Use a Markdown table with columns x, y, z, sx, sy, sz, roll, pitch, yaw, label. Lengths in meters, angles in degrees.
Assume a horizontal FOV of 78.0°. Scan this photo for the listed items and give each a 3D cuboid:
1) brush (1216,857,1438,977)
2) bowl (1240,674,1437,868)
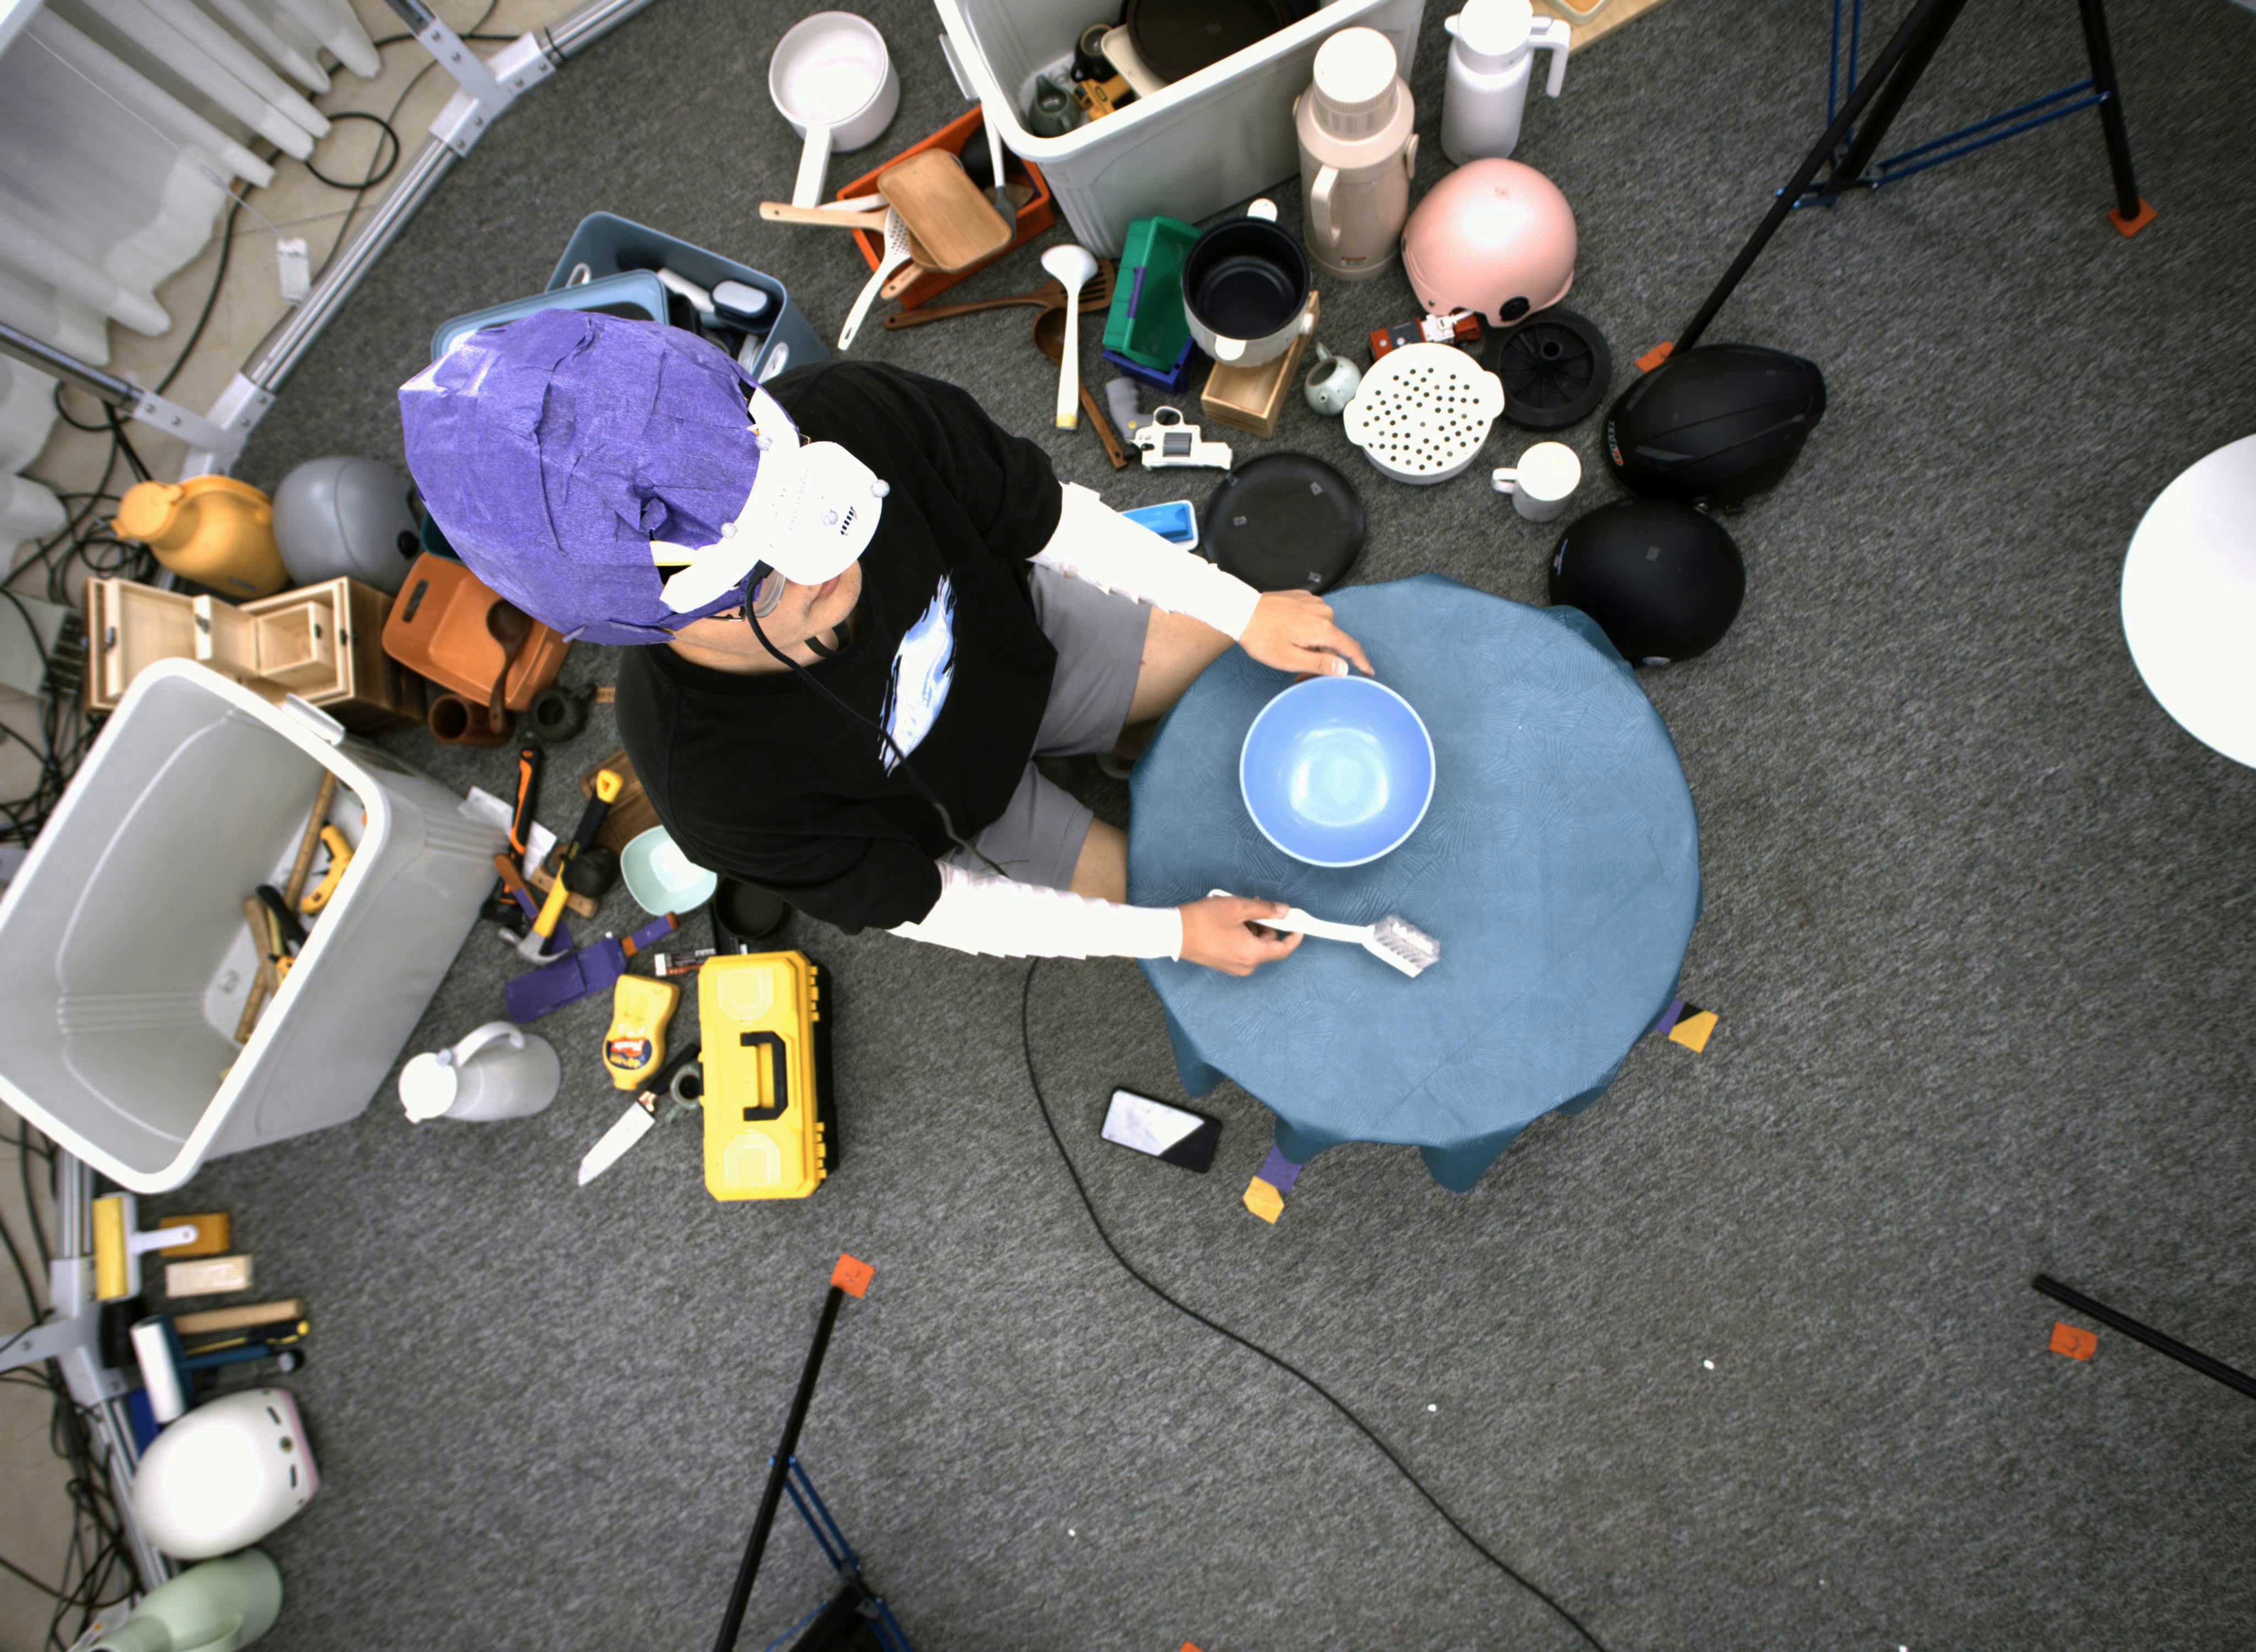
| x | y | z | sx | sy | sz | roll | pitch | yaw | label |
| --- | --- | --- | --- | --- | --- | --- | --- | --- | --- |
| 0.206 | 0.082 | 1.424 | 0.244 | 0.051 | 0.033 | 28 | 54 | 2 | brush |
| 0.217 | -0.053 | 1.427 | 0.197 | 0.095 | 0.196 | -1 | 87 | 10 | bowl |
